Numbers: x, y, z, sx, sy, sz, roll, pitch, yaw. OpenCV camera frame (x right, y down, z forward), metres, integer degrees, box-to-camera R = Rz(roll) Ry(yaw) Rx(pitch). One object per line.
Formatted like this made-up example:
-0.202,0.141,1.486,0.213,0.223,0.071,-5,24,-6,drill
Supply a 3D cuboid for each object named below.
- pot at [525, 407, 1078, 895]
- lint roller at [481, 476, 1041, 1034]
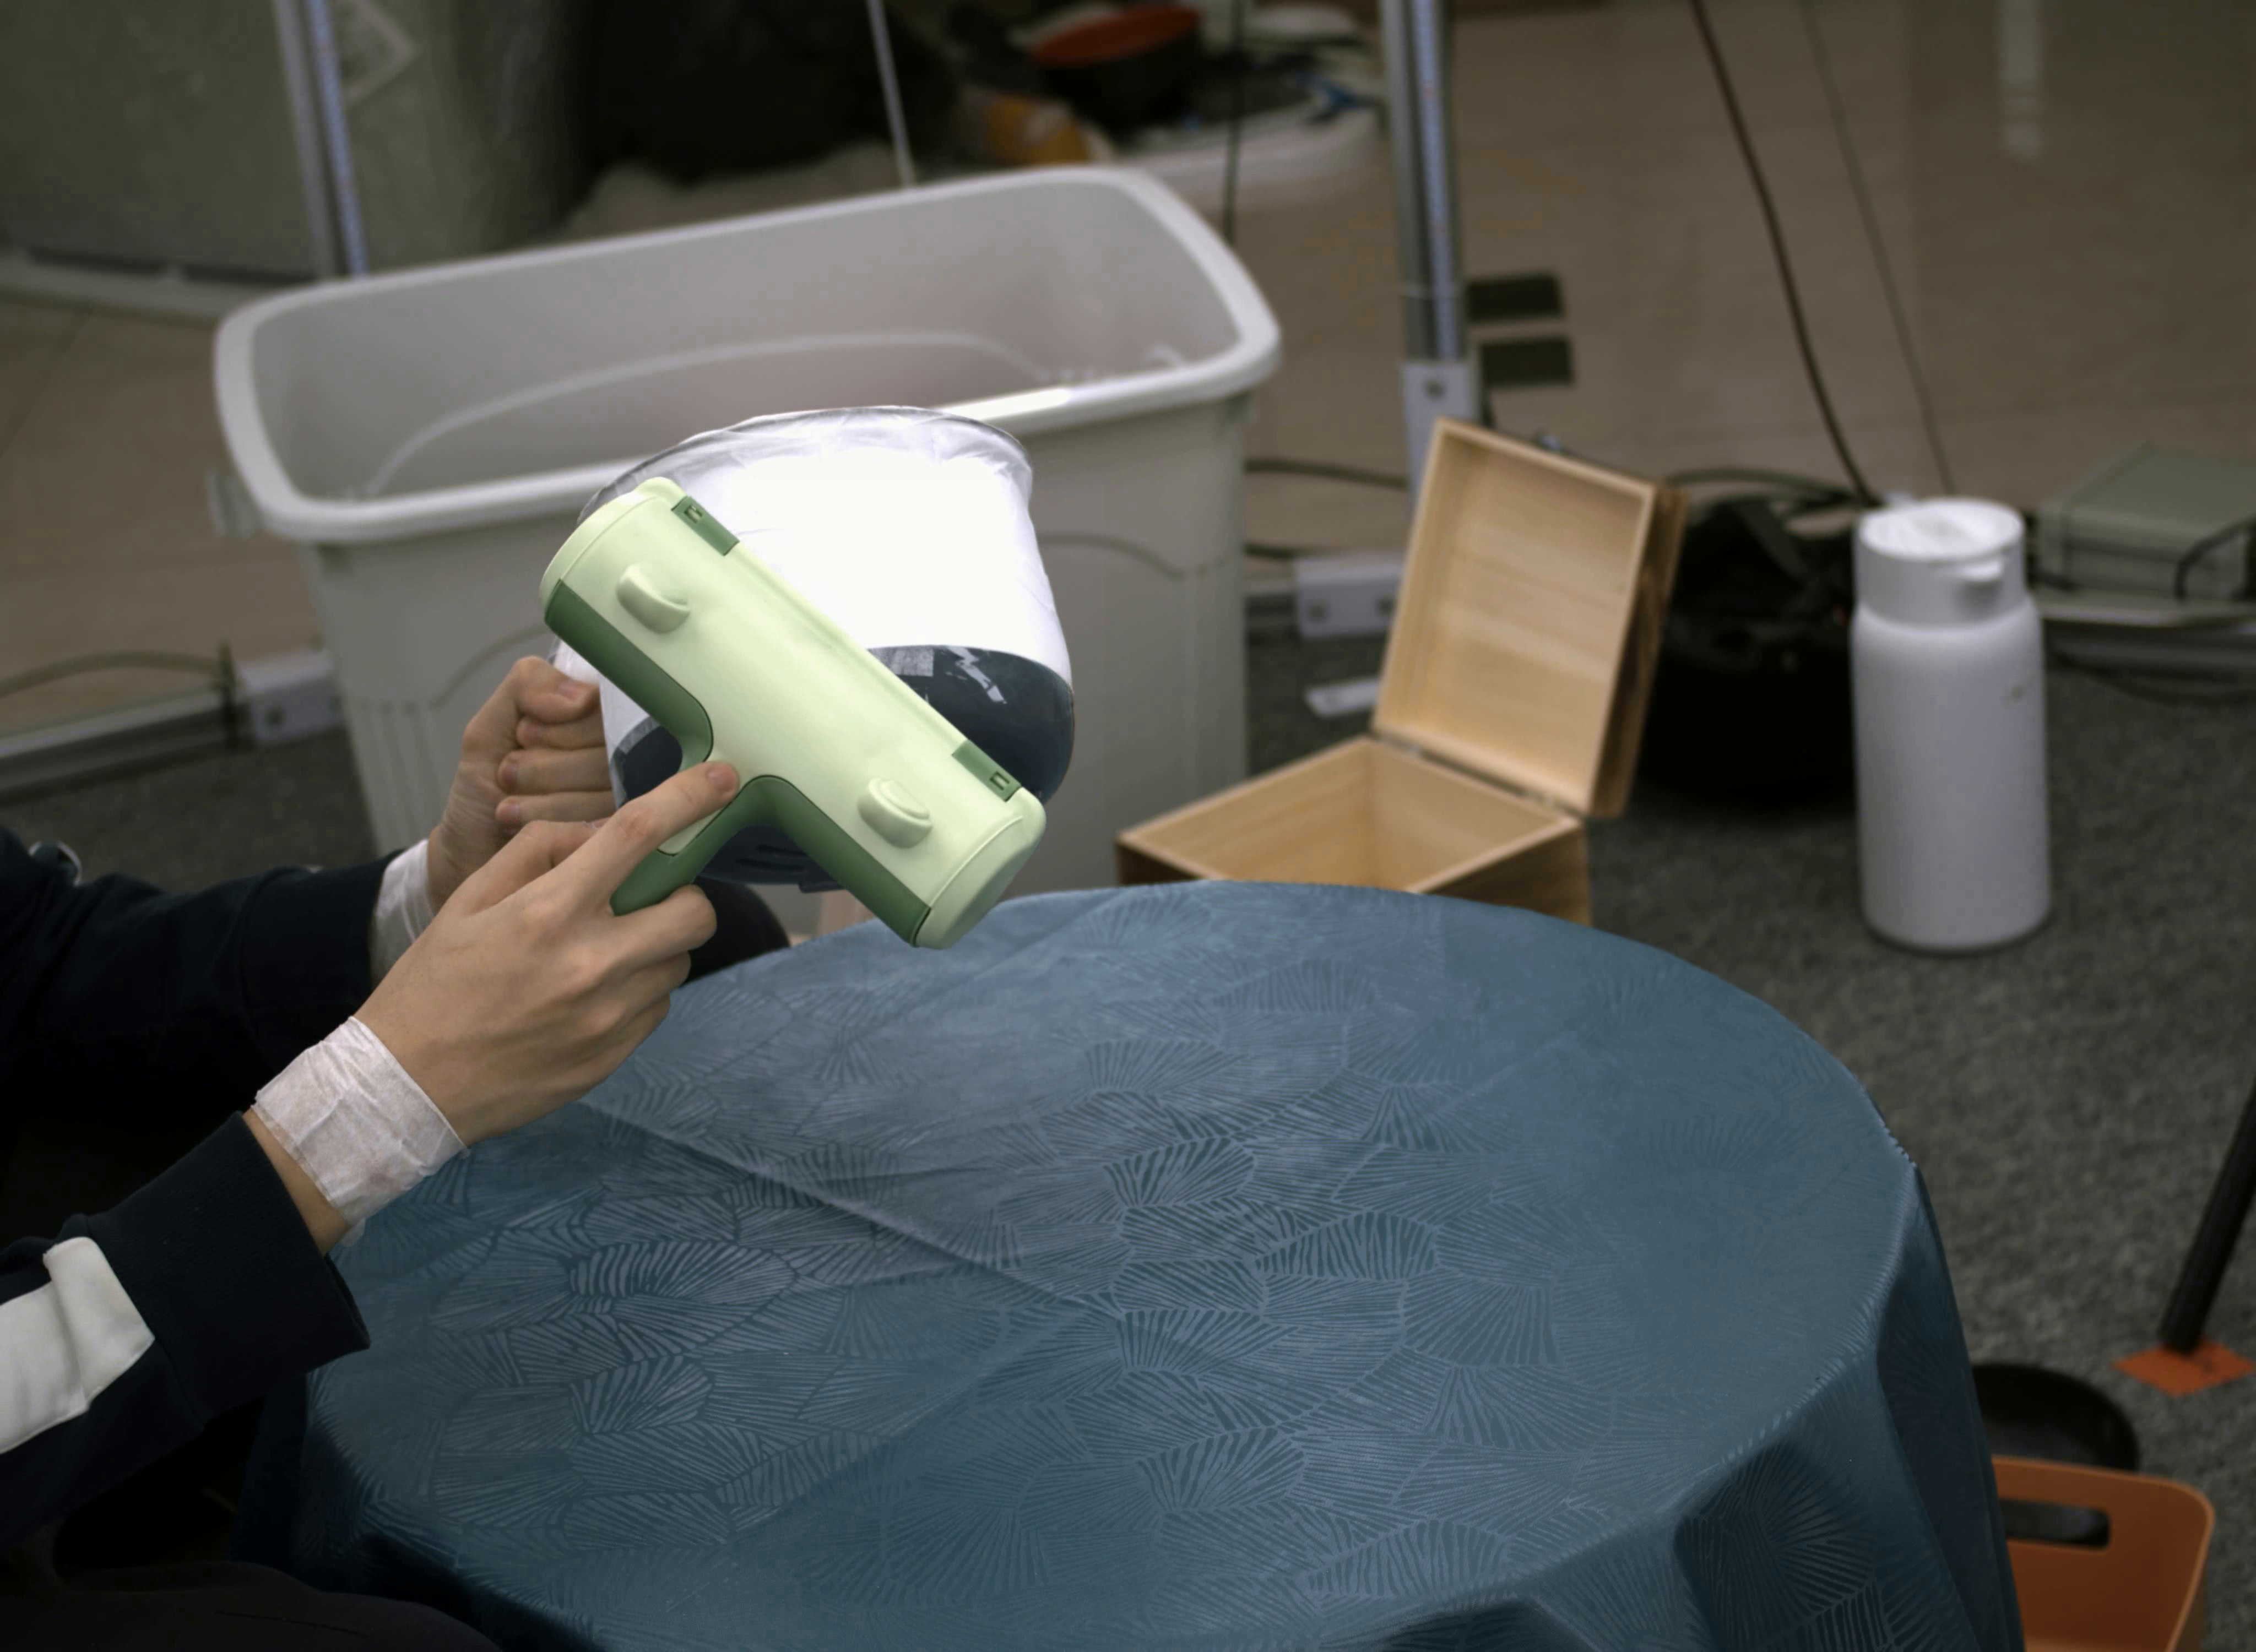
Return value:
-0.134,-0.054,2.144,0.234,0.135,0.180,-19,-21,27,pot
-0.159,-0.003,1.976,0.198,0.083,0.182,42,73,8,lint roller
